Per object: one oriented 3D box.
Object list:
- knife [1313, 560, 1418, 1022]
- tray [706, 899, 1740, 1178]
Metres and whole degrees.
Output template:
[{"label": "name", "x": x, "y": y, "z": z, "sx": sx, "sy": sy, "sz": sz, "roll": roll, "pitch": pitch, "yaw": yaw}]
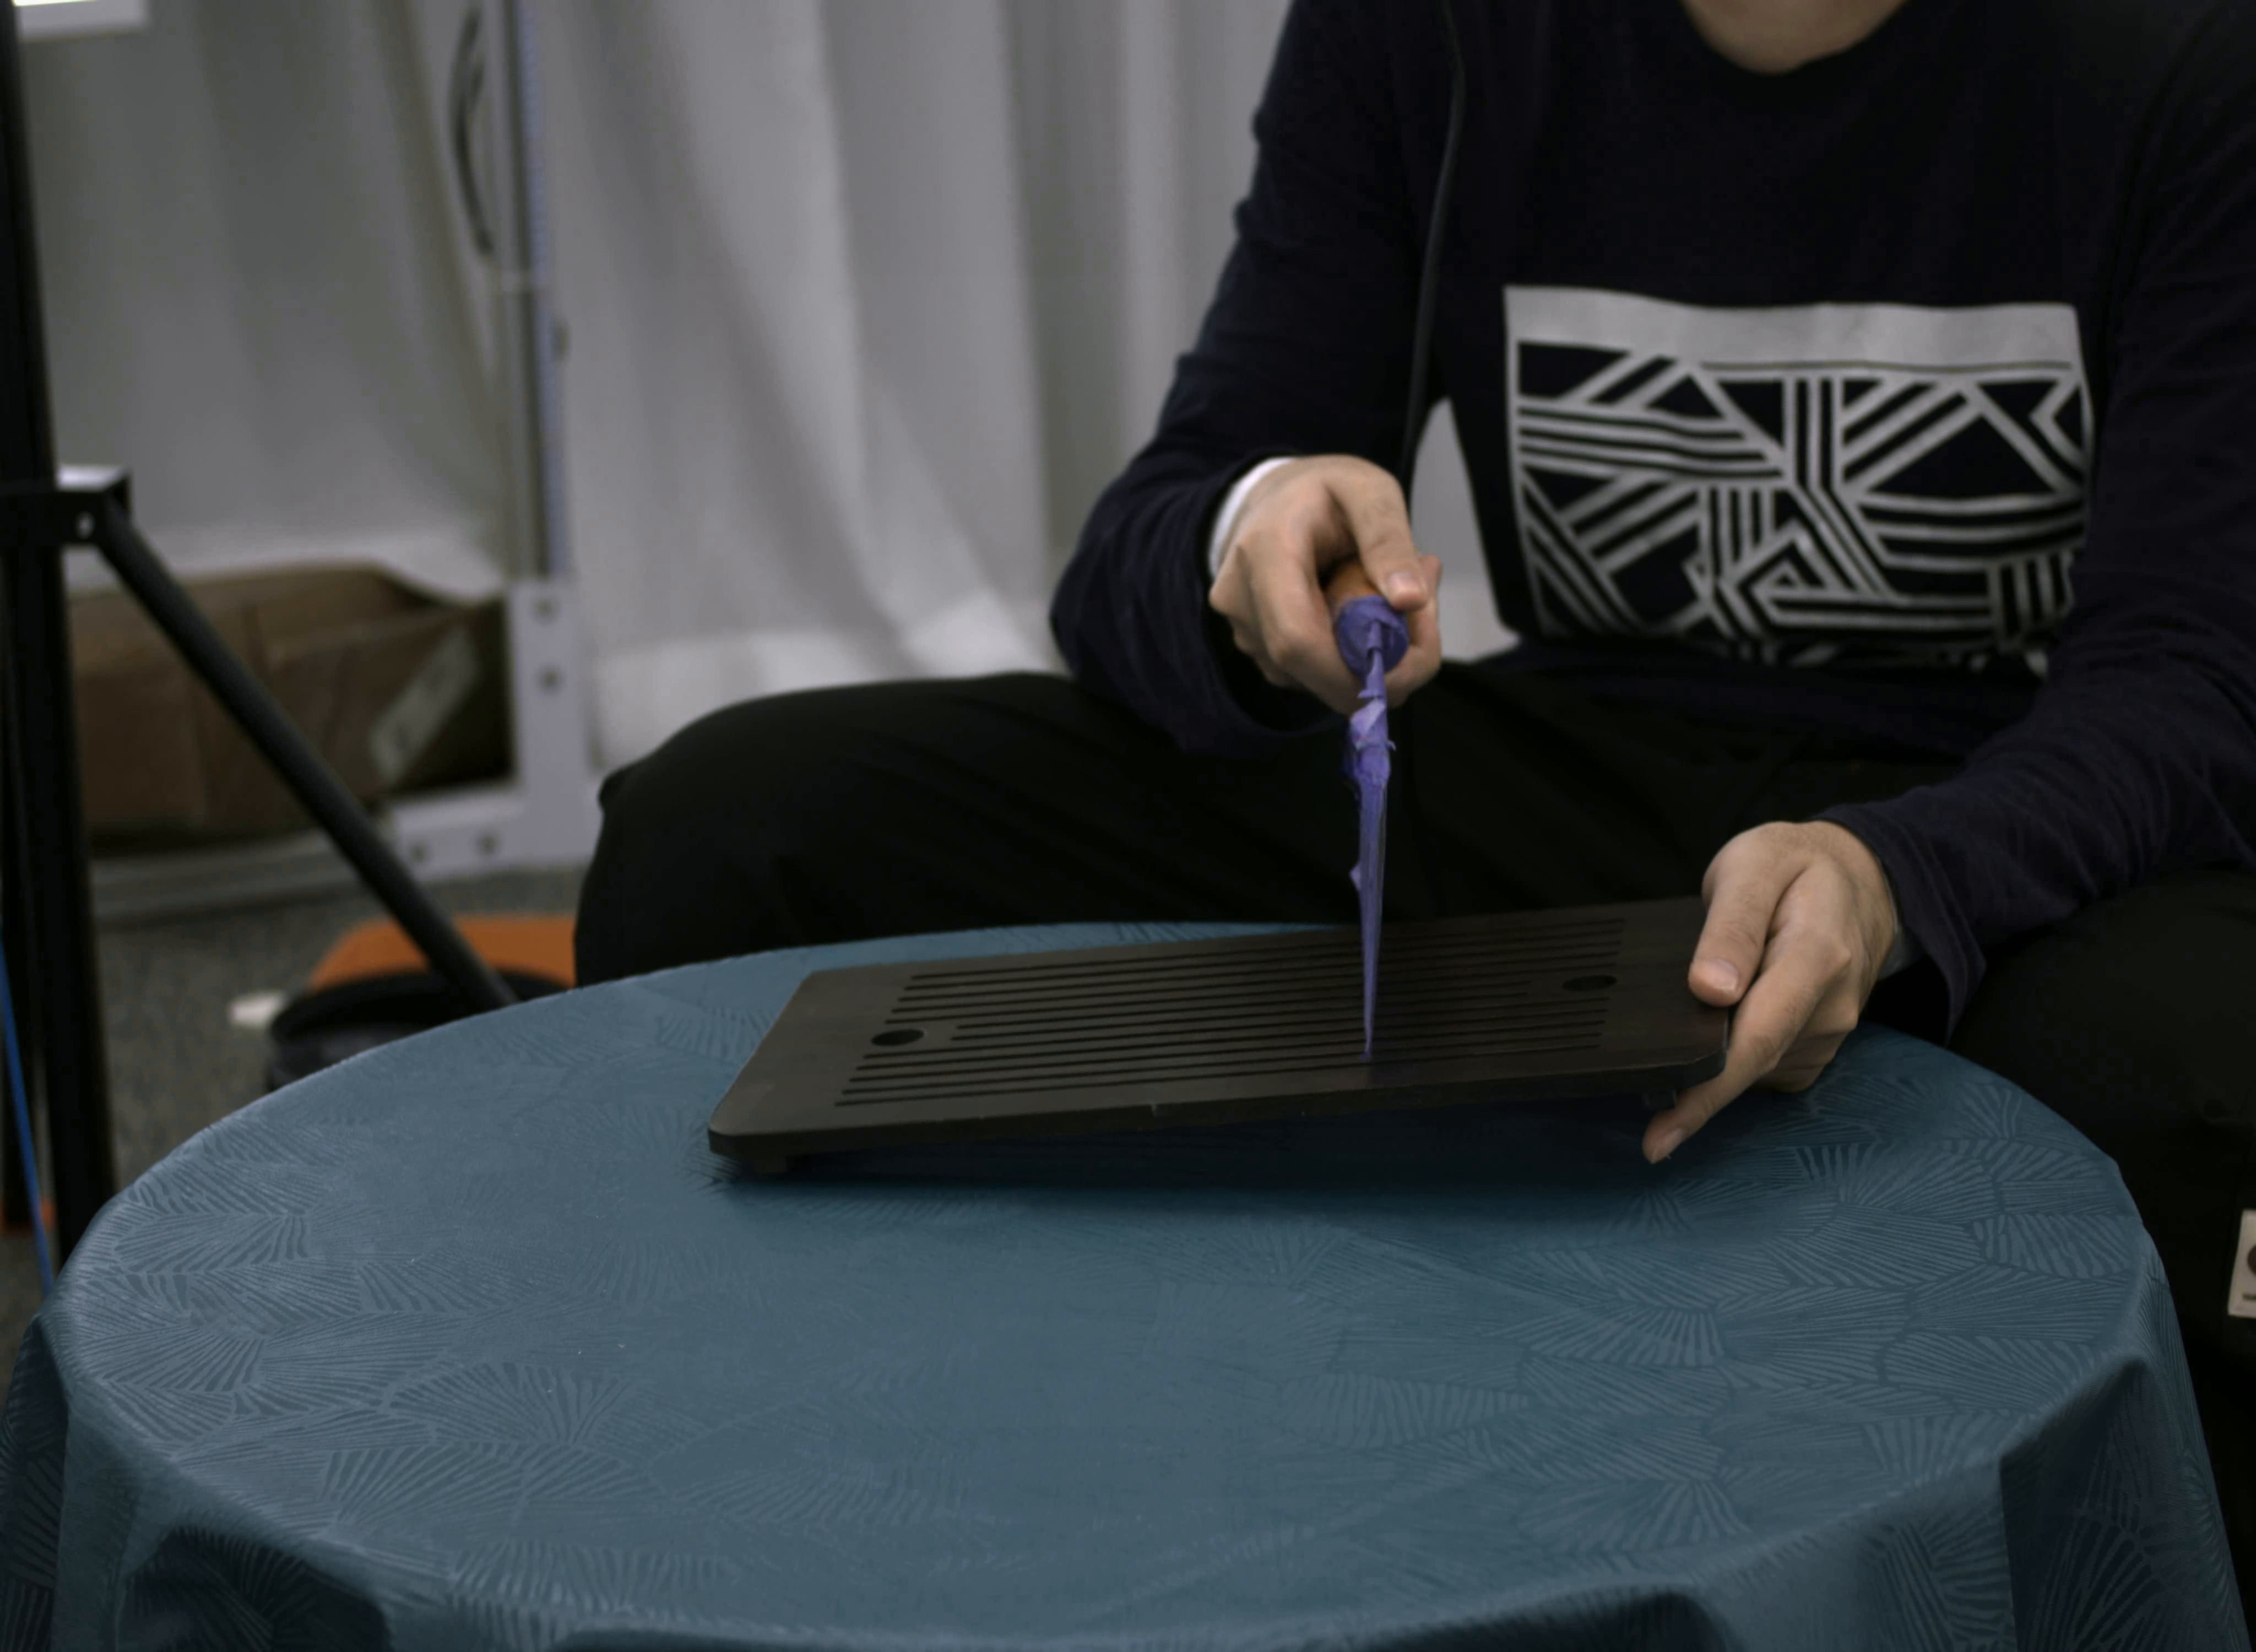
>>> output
[{"label": "knife", "x": 0.071, "y": -0.014, "z": 1.688, "sx": 0.032, "sy": 0.104, "sz": 0.315, "roll": 4, "pitch": 13, "yaw": 3}, {"label": "tray", "x": 0.034, "y": 0.065, "z": 1.626, "sx": 0.307, "sy": 0.018, "sz": 0.169, "roll": -5, "pitch": 14, "yaw": 11}]
